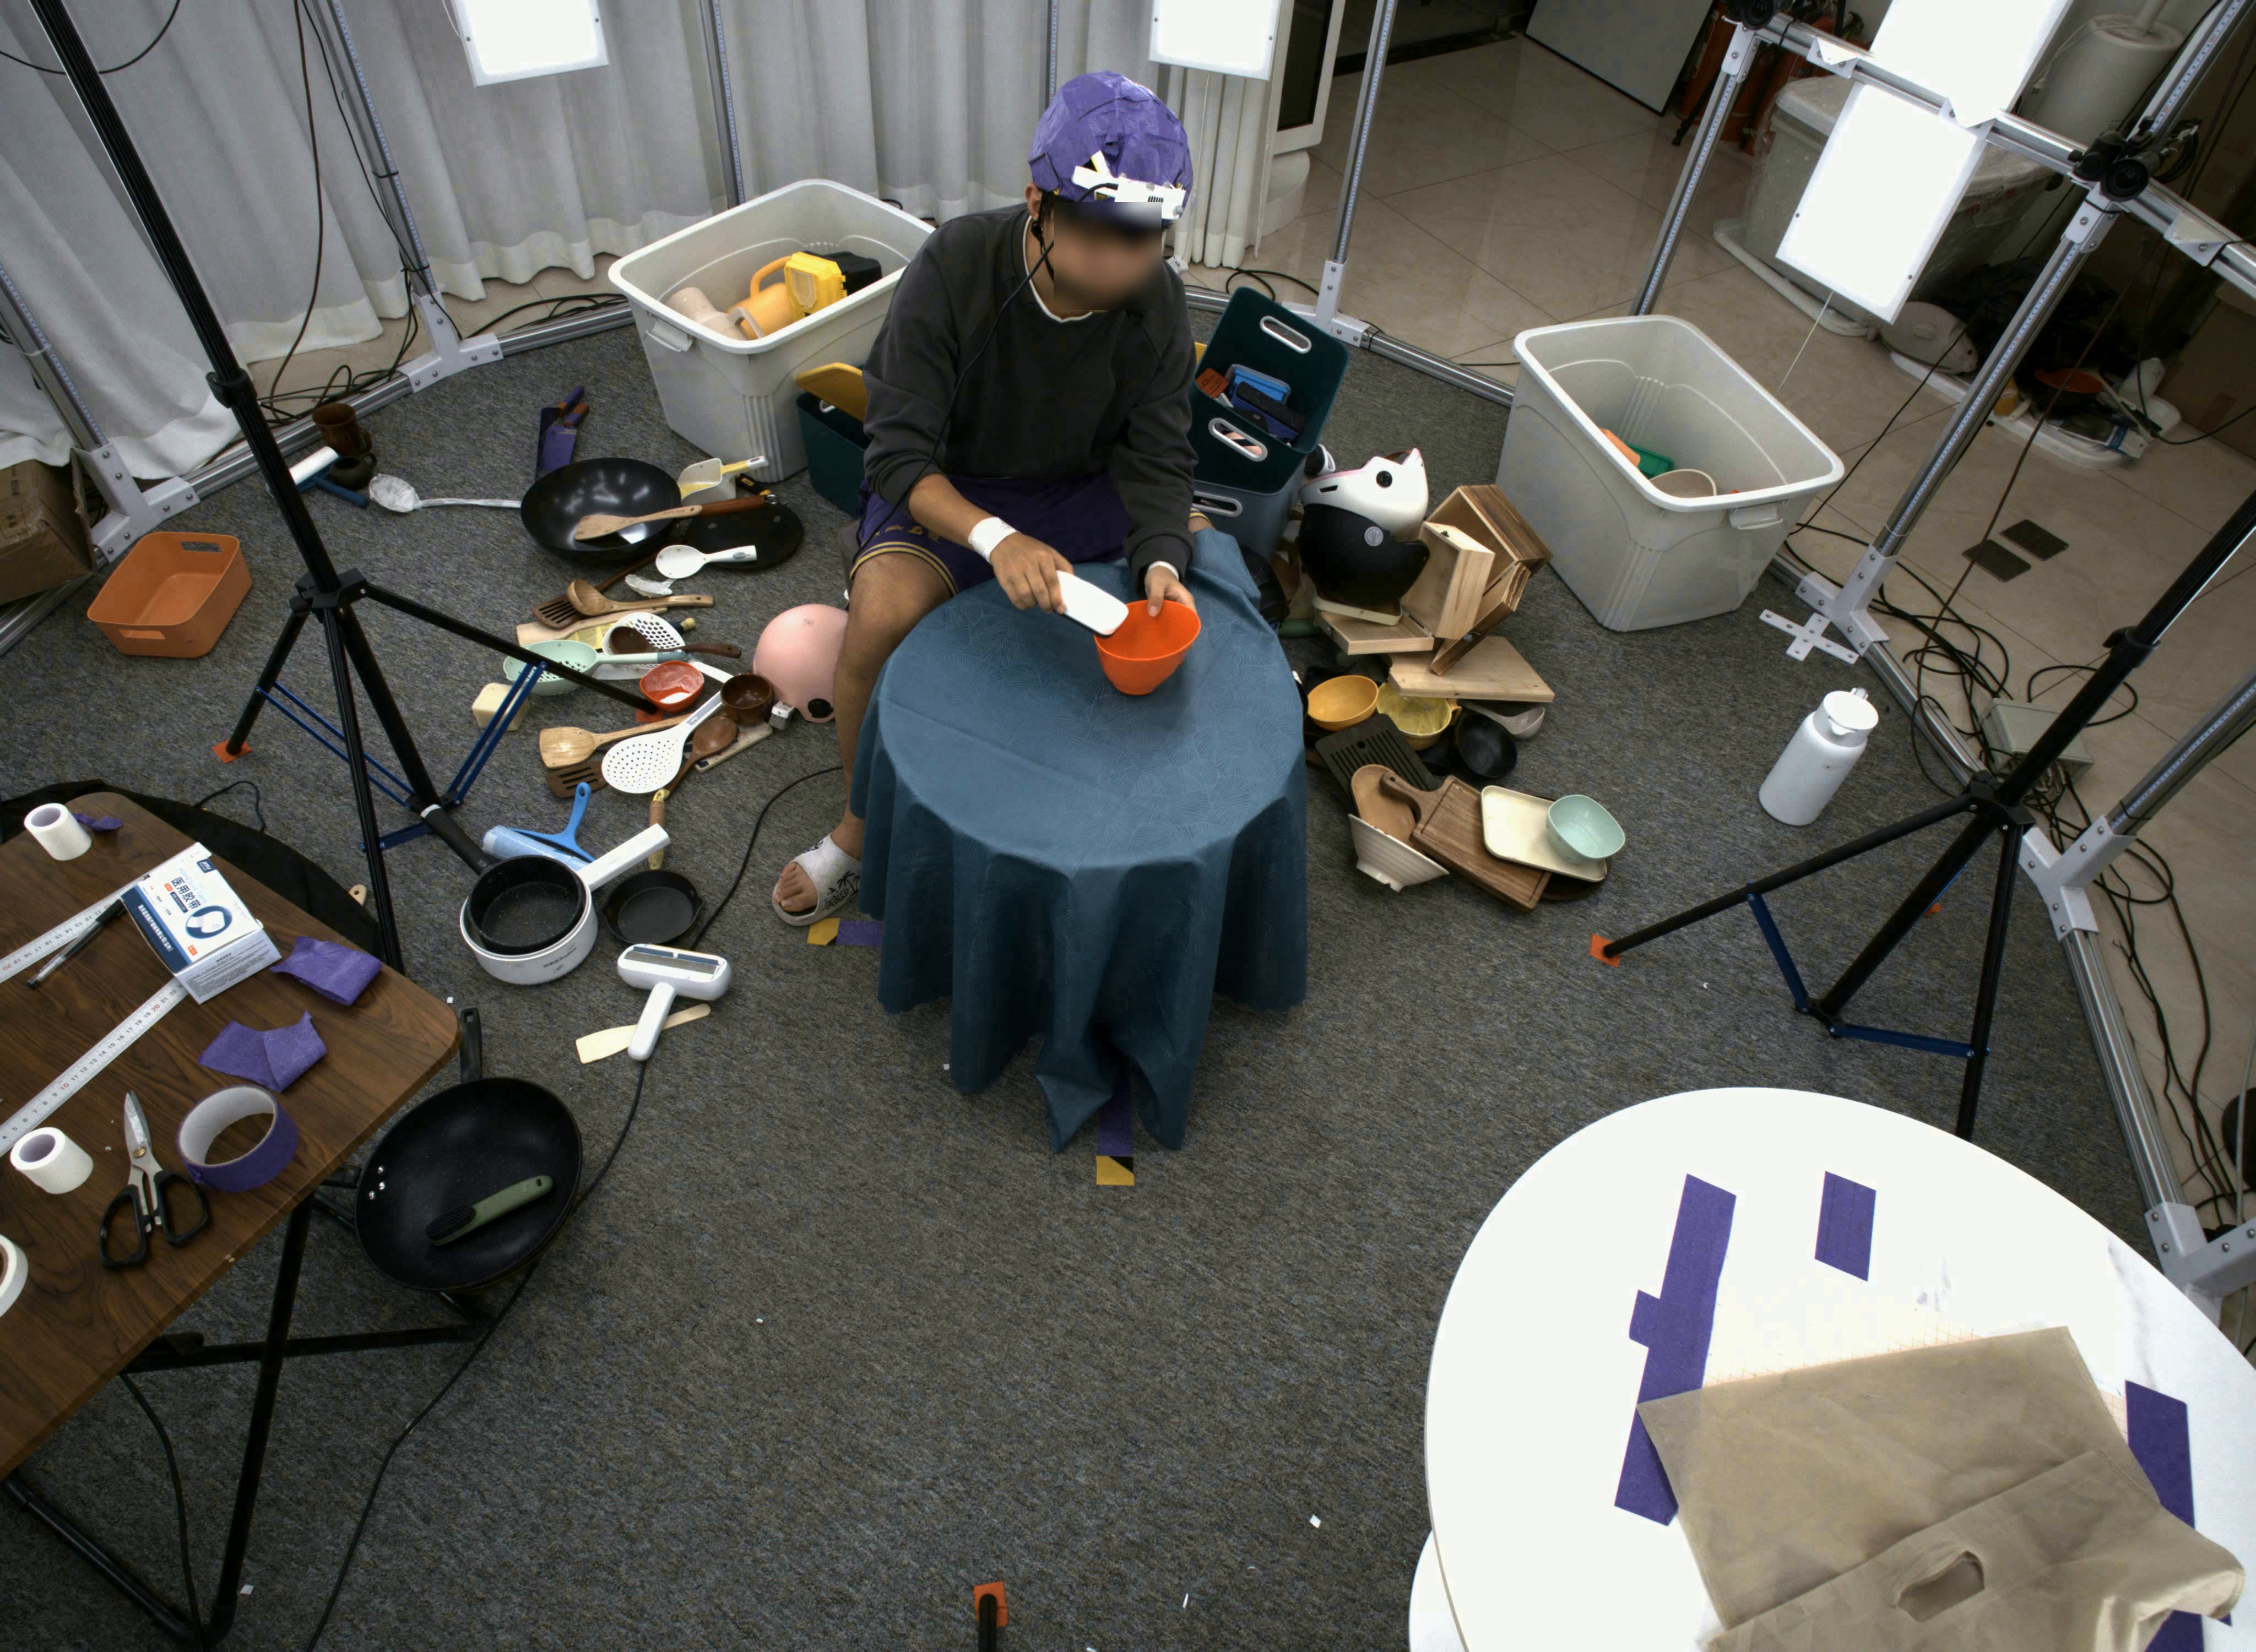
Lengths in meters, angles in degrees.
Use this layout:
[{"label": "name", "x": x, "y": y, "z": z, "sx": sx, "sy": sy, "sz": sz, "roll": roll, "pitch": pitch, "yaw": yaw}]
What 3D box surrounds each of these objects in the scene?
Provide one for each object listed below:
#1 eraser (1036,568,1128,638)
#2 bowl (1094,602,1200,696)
[{"label": "eraser", "x": -0.064, "y": -0.317, "z": 1.807, "sx": 0.132, "sy": 0.034, "sz": 0.064, "roll": 32, "pitch": 47, "yaw": 10}, {"label": "bowl", "x": 0.024, "y": -0.242, "z": 1.810, "sx": 0.148, "sy": 0.102, "sz": 0.152, "roll": 2, "pitch": 42, "yaw": -2}]
